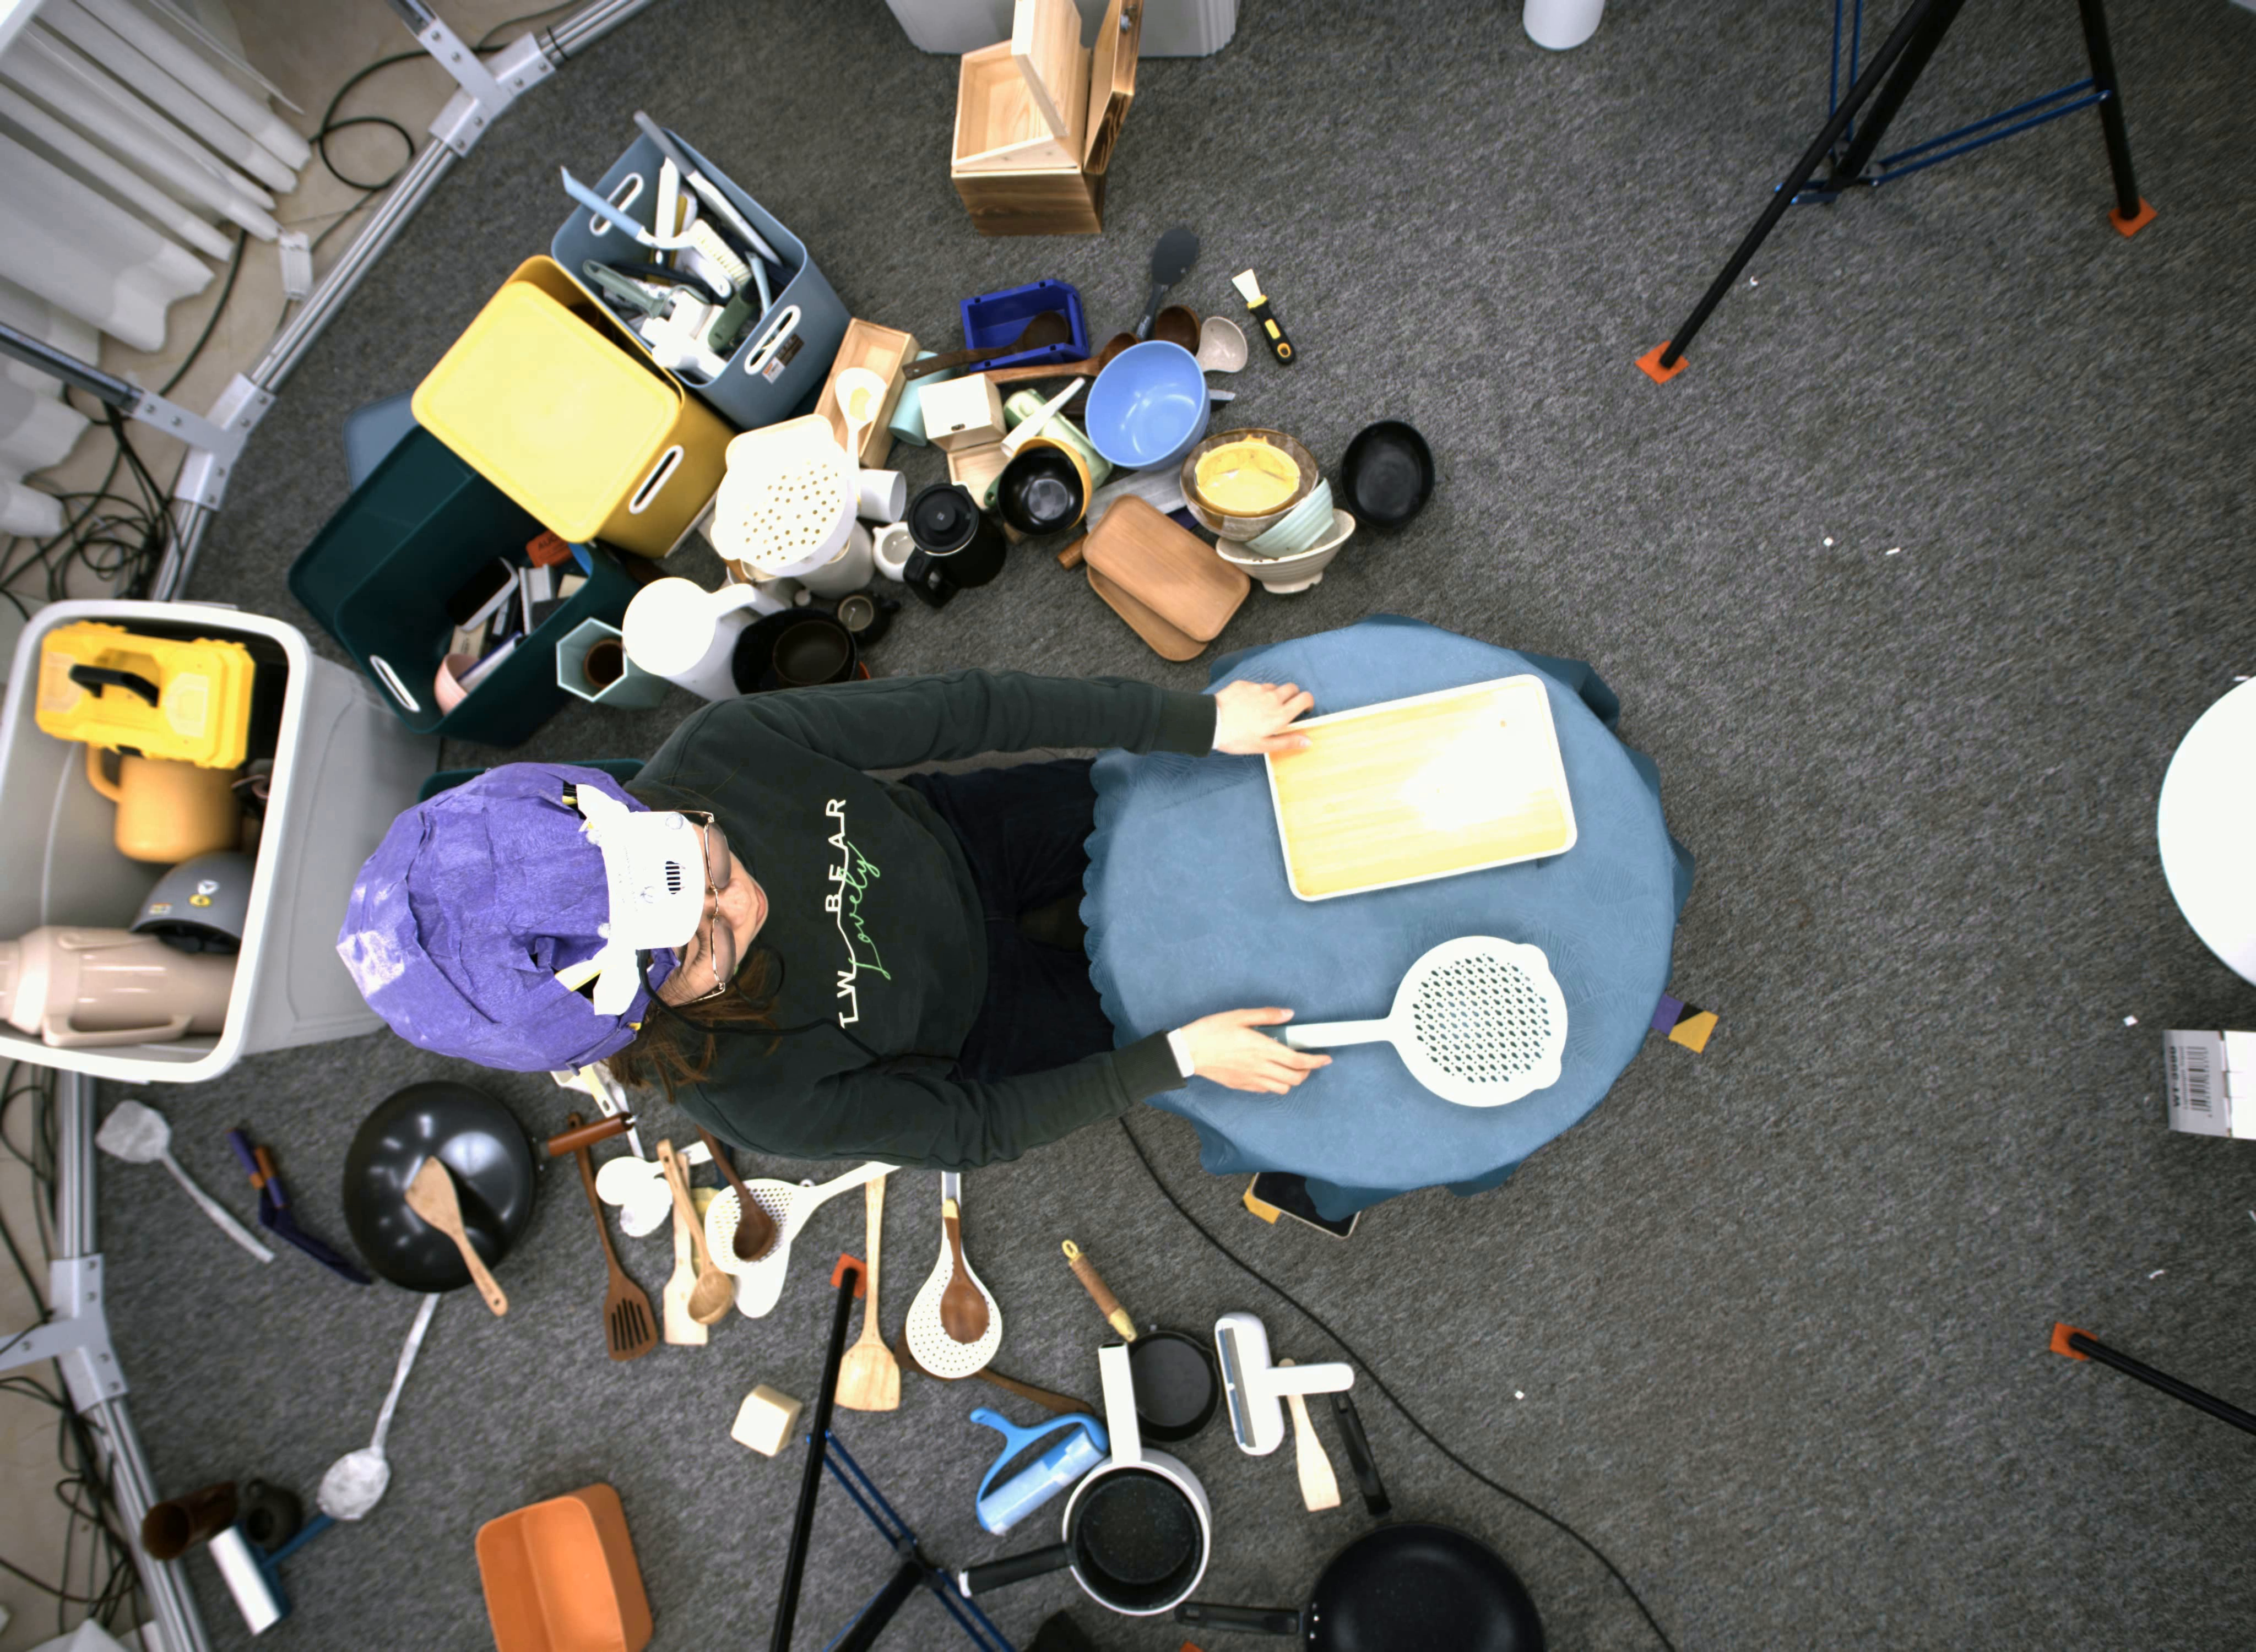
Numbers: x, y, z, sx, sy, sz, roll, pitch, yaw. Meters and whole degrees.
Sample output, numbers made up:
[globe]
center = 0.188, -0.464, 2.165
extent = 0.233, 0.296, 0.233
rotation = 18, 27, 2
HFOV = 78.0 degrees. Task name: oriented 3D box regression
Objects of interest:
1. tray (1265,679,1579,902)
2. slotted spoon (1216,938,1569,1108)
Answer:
[tray]
center = 0.307, -0.038, 1.452
extent = 0.302, 0.027, 0.190
rotation = -11, 84, 9
[slotted spoon]
center = 0.265, 0.209, 1.424
extent = 0.360, 0.075, 0.168
rotation = -7, 84, 10
